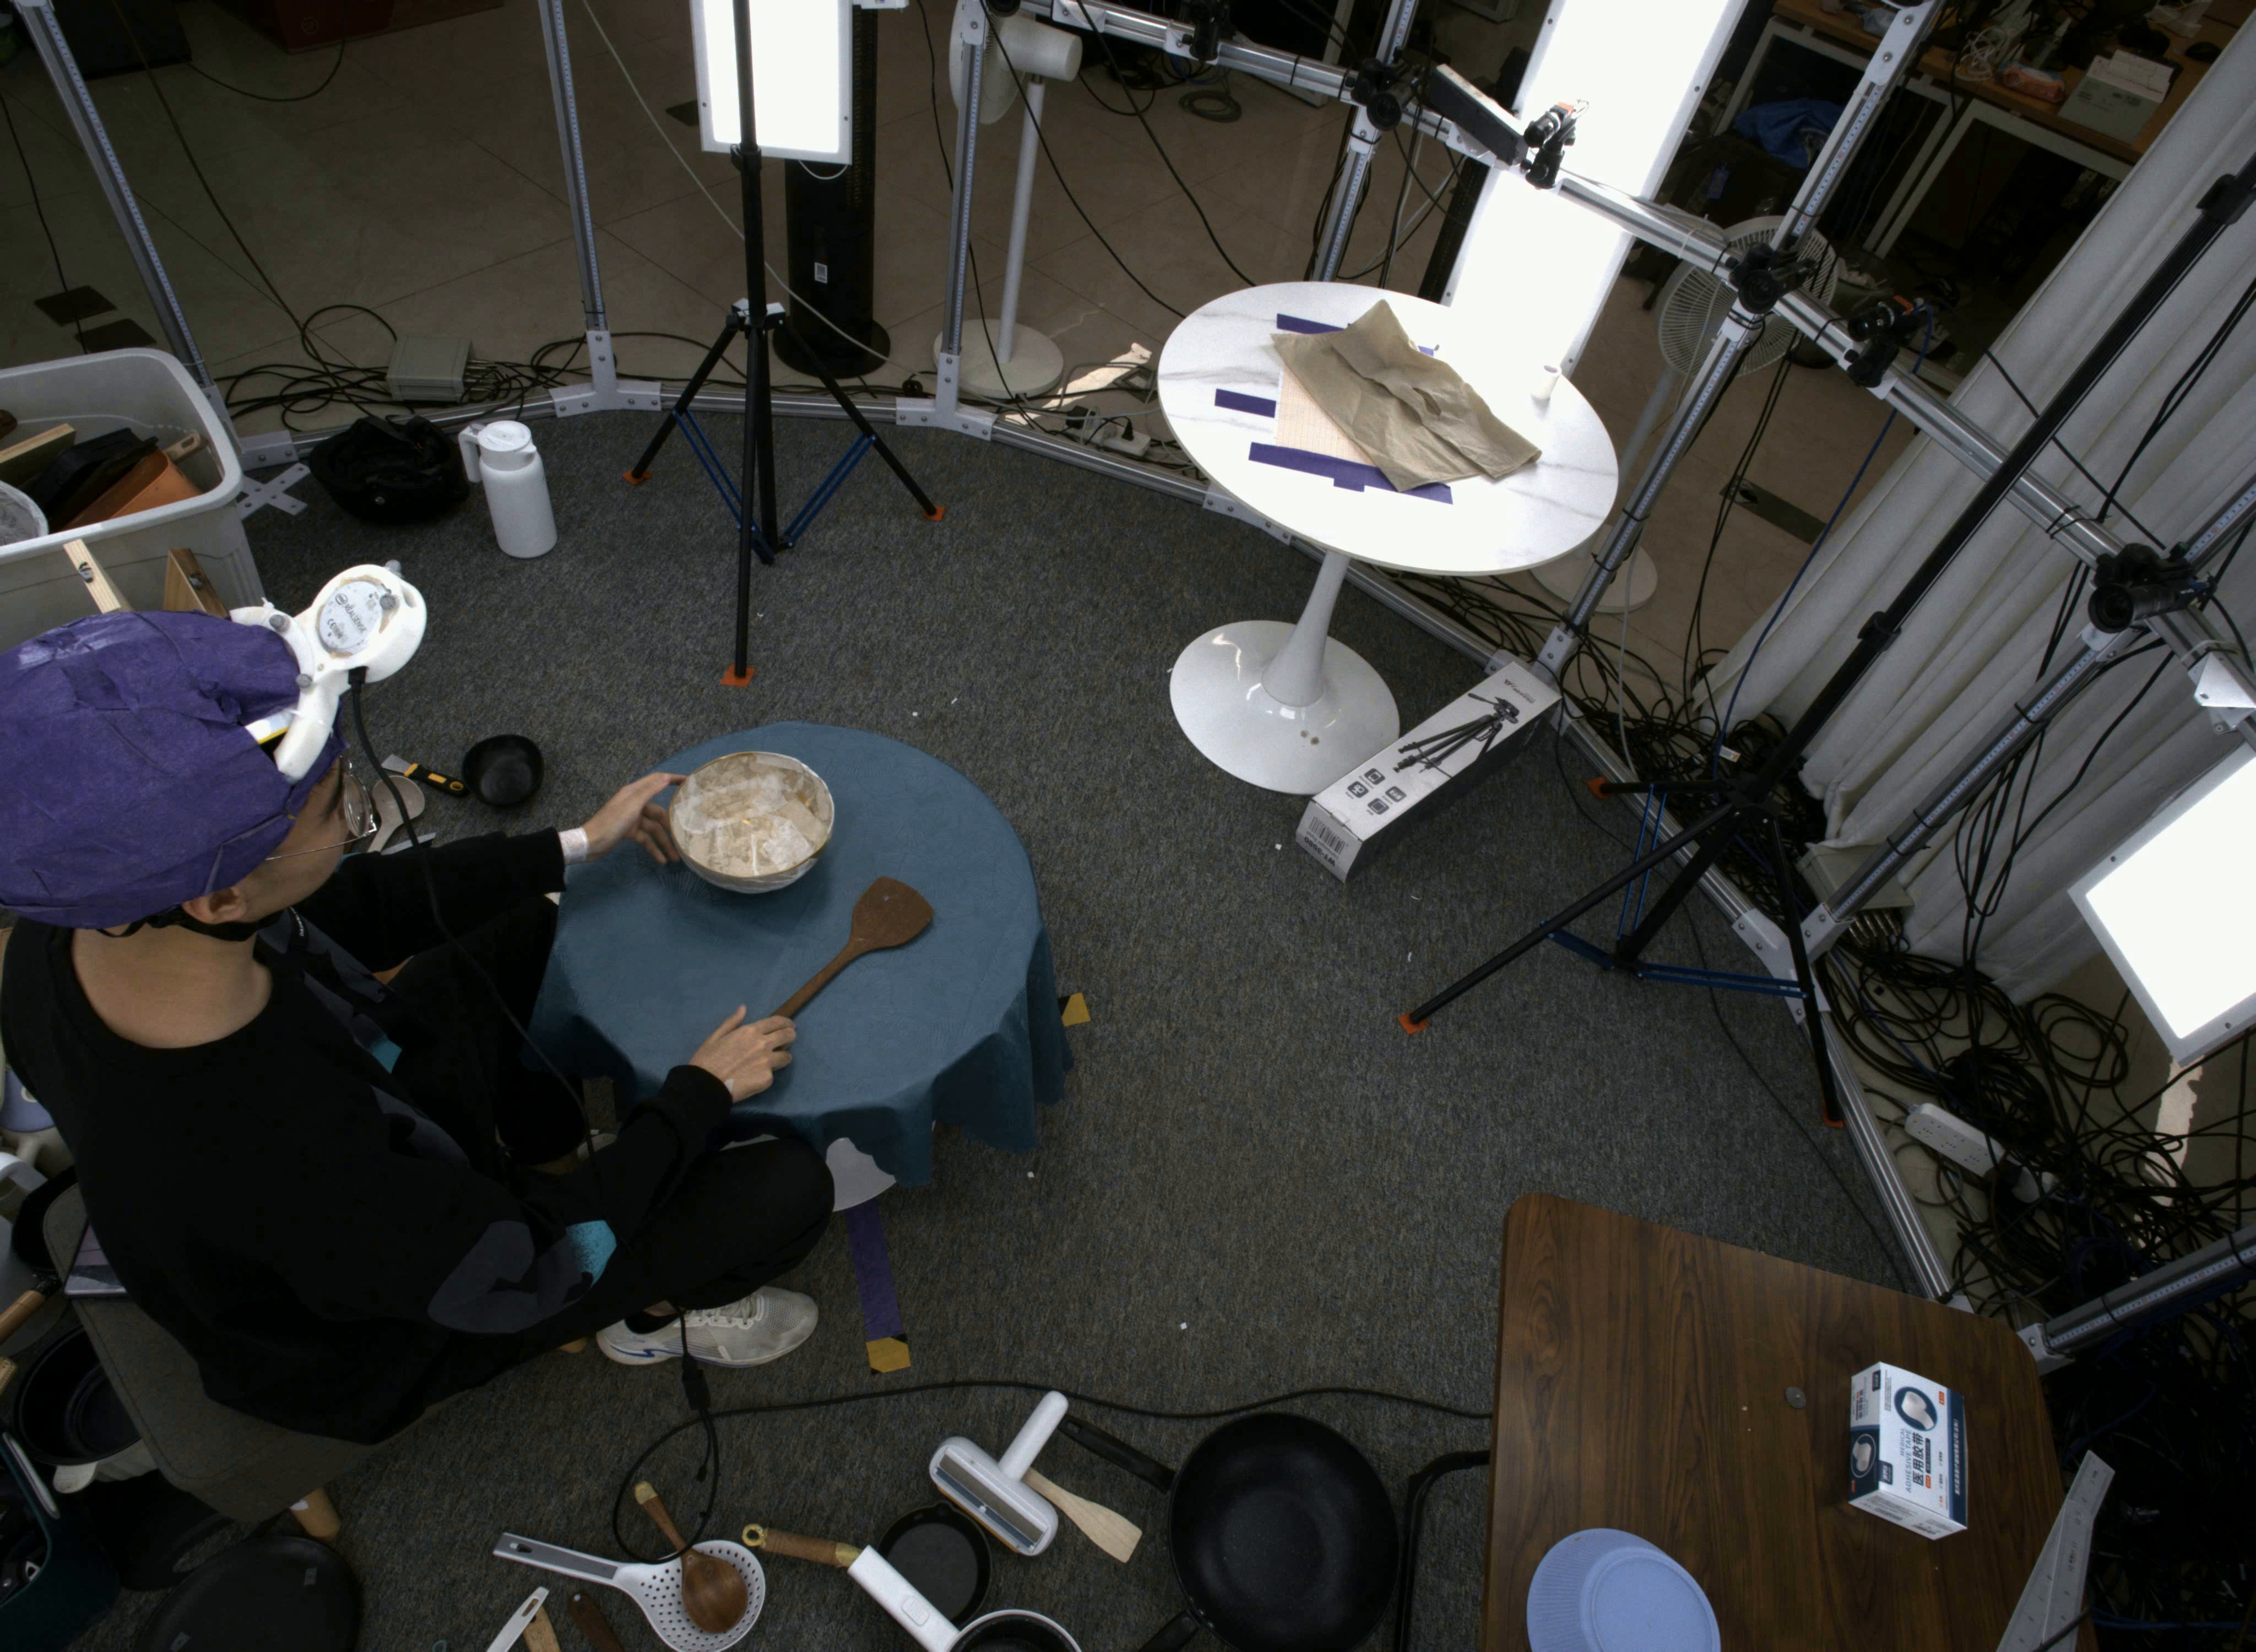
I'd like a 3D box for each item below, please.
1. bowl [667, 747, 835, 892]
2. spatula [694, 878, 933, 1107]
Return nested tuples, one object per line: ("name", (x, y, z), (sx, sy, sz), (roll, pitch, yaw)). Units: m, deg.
("bowl", (-0.480, 0.006, 1.649), (0.214, 0.096, 0.211), (8, 53, -9))
("spatula", (-0.386, 0.198, 1.582), (0.094, 0.016, 0.385), (34, 53, 12))
